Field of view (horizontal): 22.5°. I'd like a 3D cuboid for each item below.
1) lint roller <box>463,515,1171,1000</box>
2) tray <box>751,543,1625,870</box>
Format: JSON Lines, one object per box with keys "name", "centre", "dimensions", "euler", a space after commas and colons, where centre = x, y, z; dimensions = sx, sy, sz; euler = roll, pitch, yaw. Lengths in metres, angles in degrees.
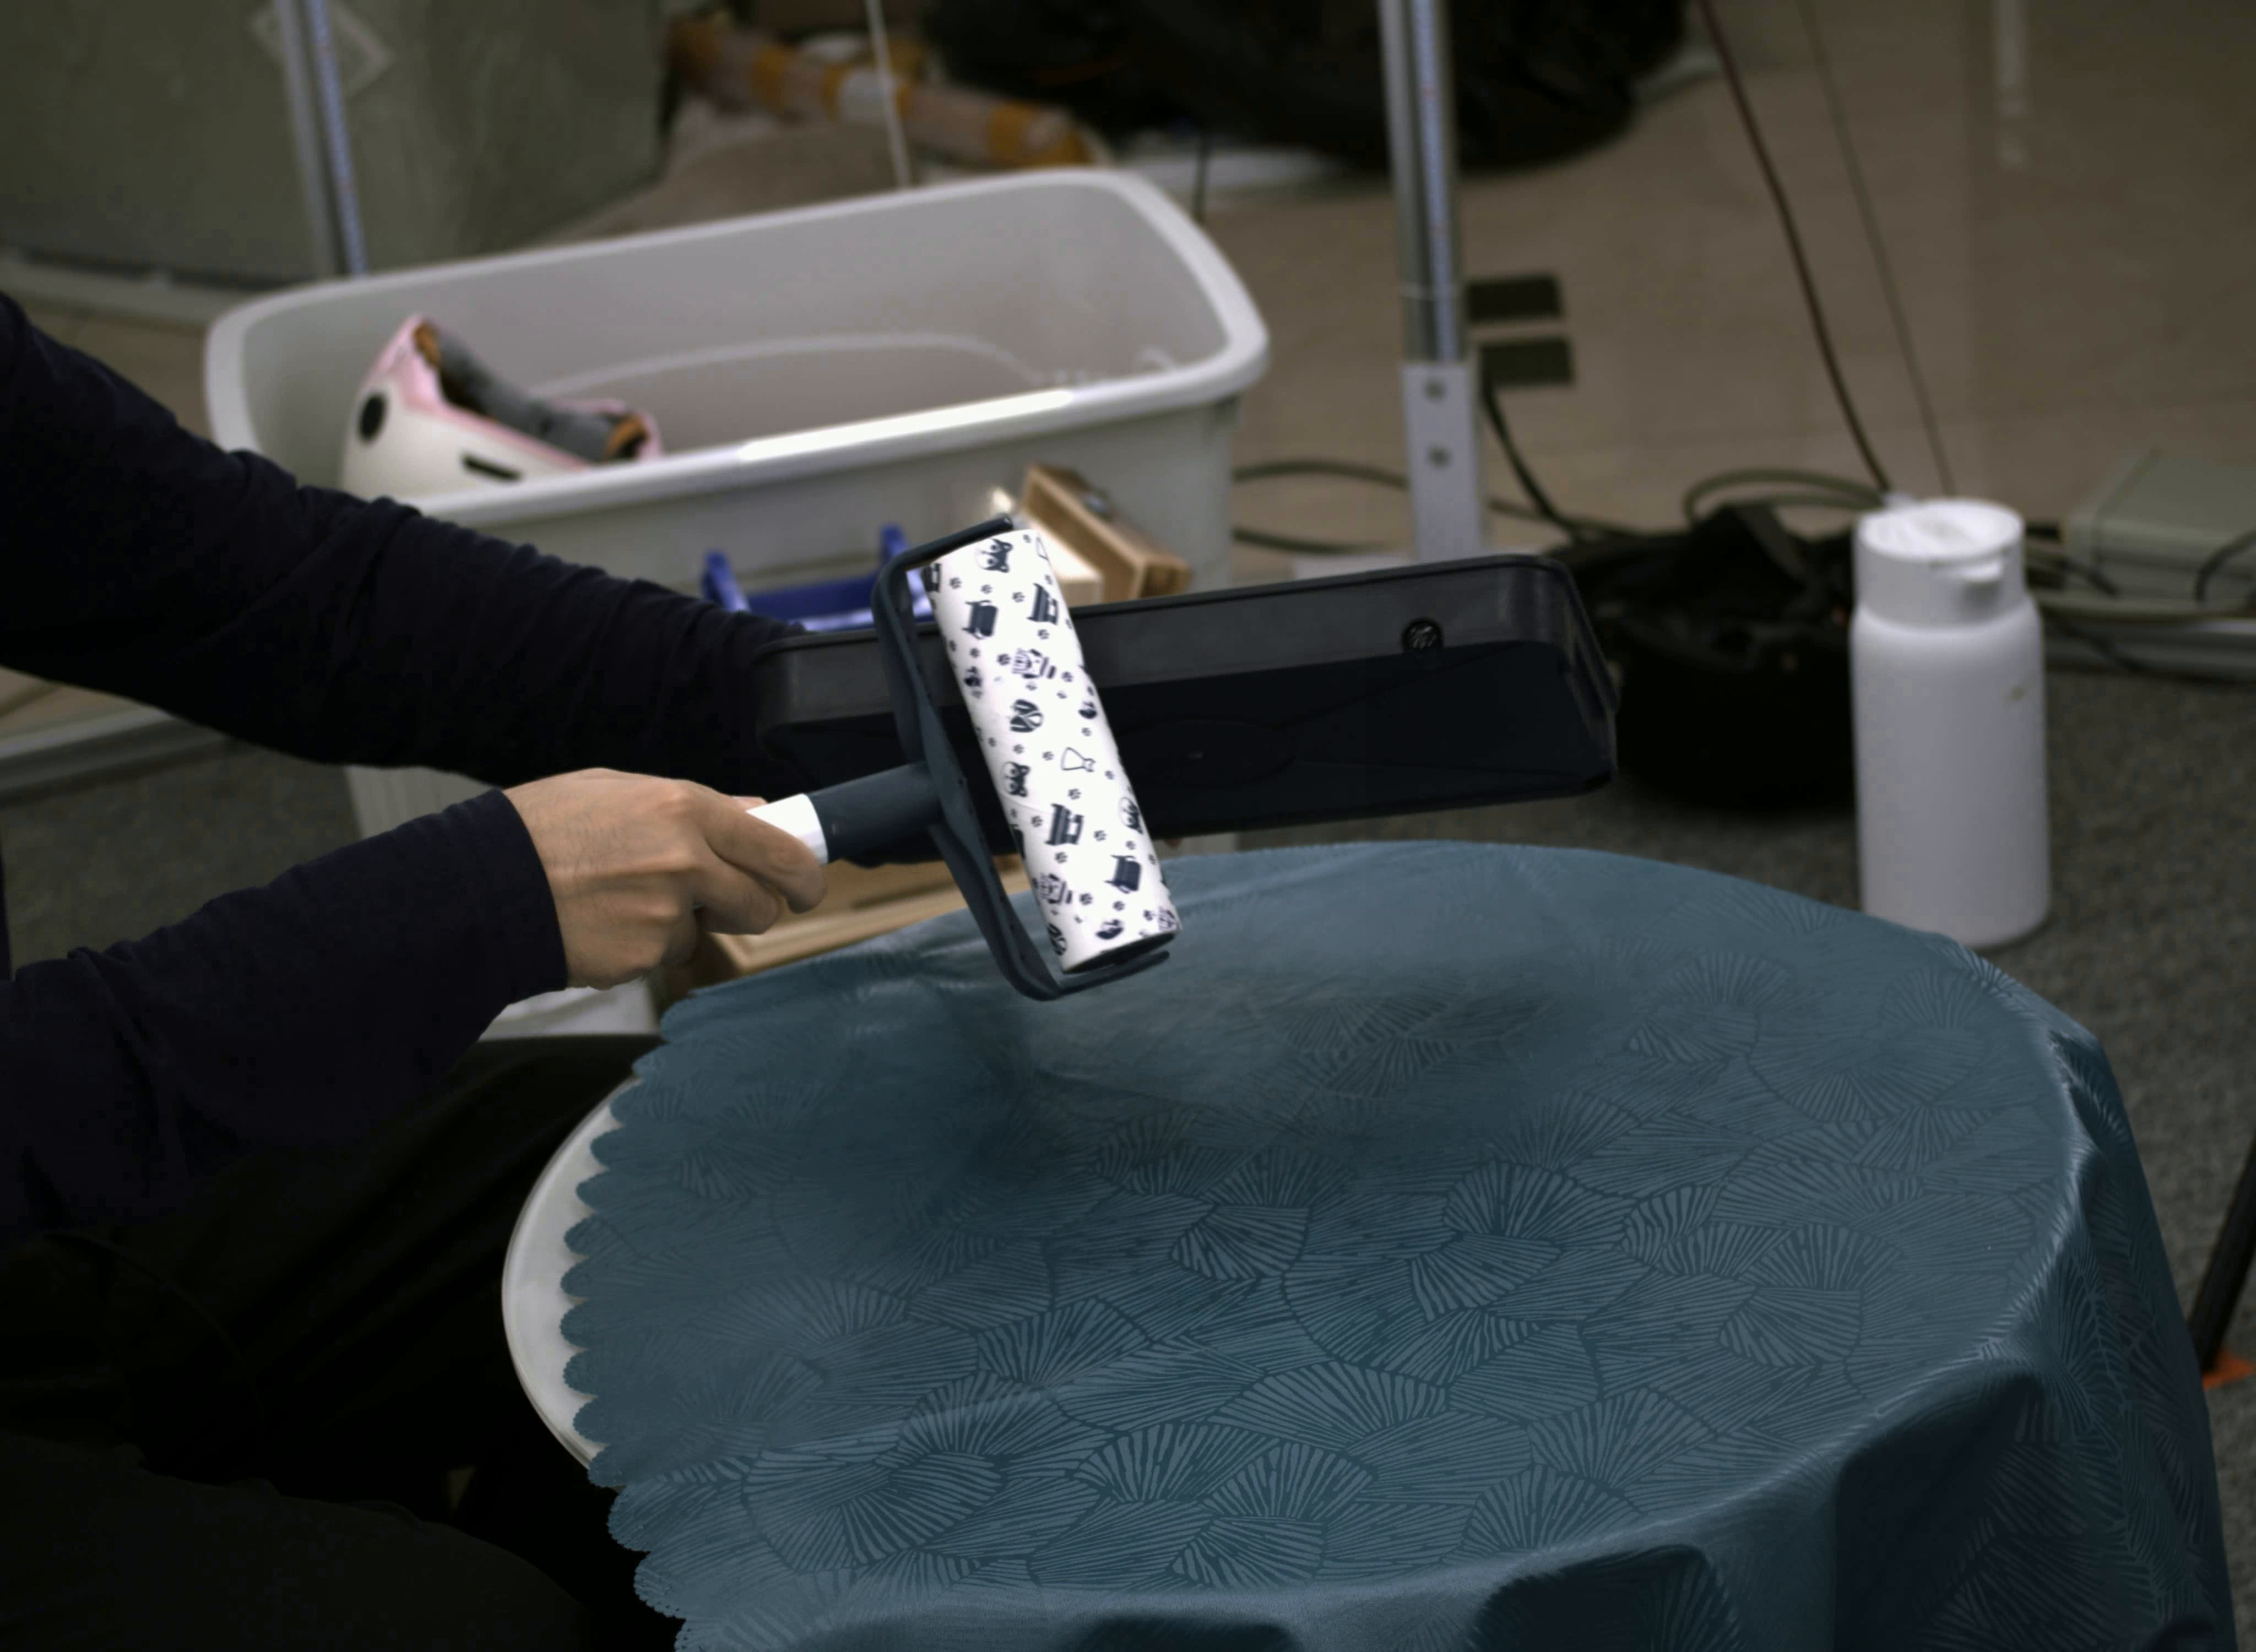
{"name": "lint roller", "centre": [-0.123, 0.004, 2.068], "dimensions": [0.246, 0.176, 0.050], "euler": [-19, -4, -12]}
{"name": "tray", "centre": [0.026, -0.043, 2.194], "dimensions": [0.317, 0.186, 0.036], "euler": [-7, 70, 11]}
